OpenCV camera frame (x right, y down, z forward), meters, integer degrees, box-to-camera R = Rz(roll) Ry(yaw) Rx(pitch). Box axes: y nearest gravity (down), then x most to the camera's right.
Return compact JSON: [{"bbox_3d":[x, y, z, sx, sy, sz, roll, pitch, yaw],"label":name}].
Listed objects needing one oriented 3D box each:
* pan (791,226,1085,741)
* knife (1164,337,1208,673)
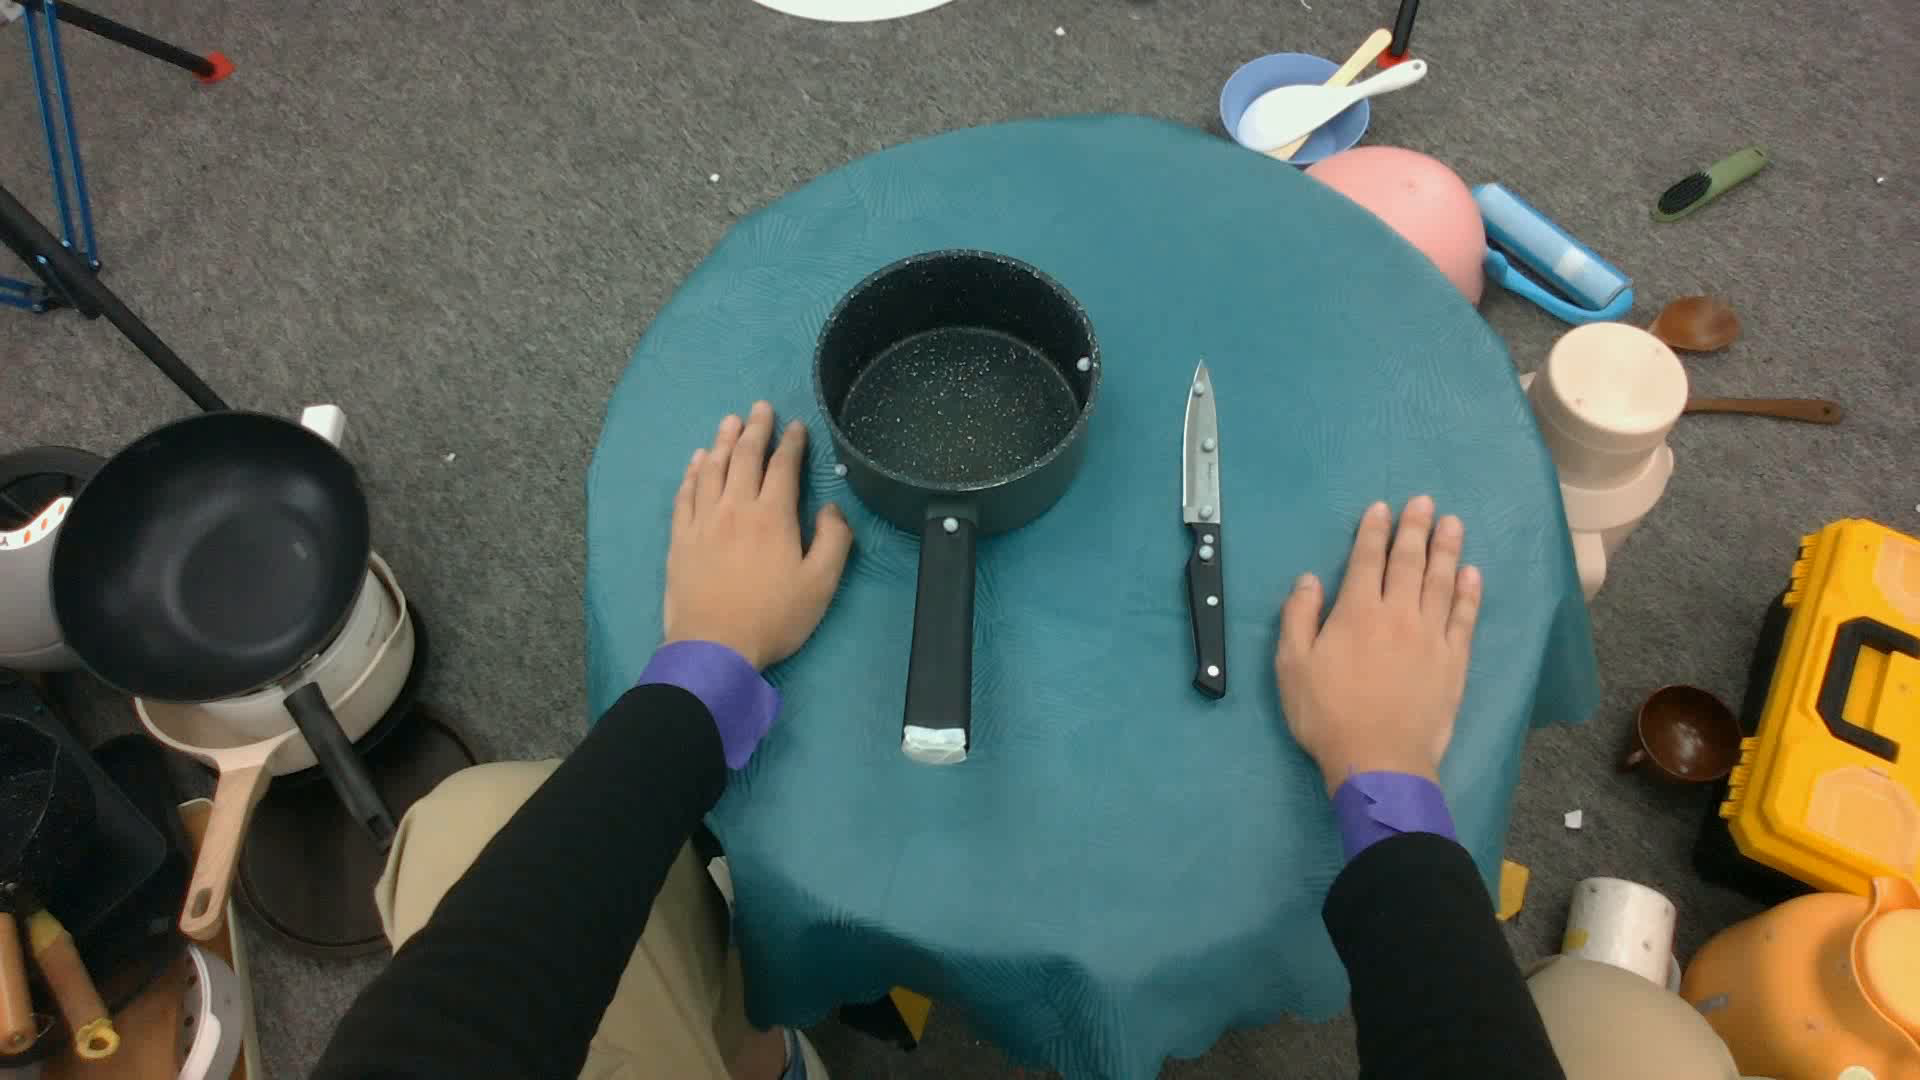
[{"bbox_3d":[-0.018,-0.031,0.801,0.172,0.086,0.330,4,62,4],"label":"pan"},{"bbox_3d":[0.138,-0.029,0.838,0.024,0.016,0.239,1,60,3],"label":"knife"}]
